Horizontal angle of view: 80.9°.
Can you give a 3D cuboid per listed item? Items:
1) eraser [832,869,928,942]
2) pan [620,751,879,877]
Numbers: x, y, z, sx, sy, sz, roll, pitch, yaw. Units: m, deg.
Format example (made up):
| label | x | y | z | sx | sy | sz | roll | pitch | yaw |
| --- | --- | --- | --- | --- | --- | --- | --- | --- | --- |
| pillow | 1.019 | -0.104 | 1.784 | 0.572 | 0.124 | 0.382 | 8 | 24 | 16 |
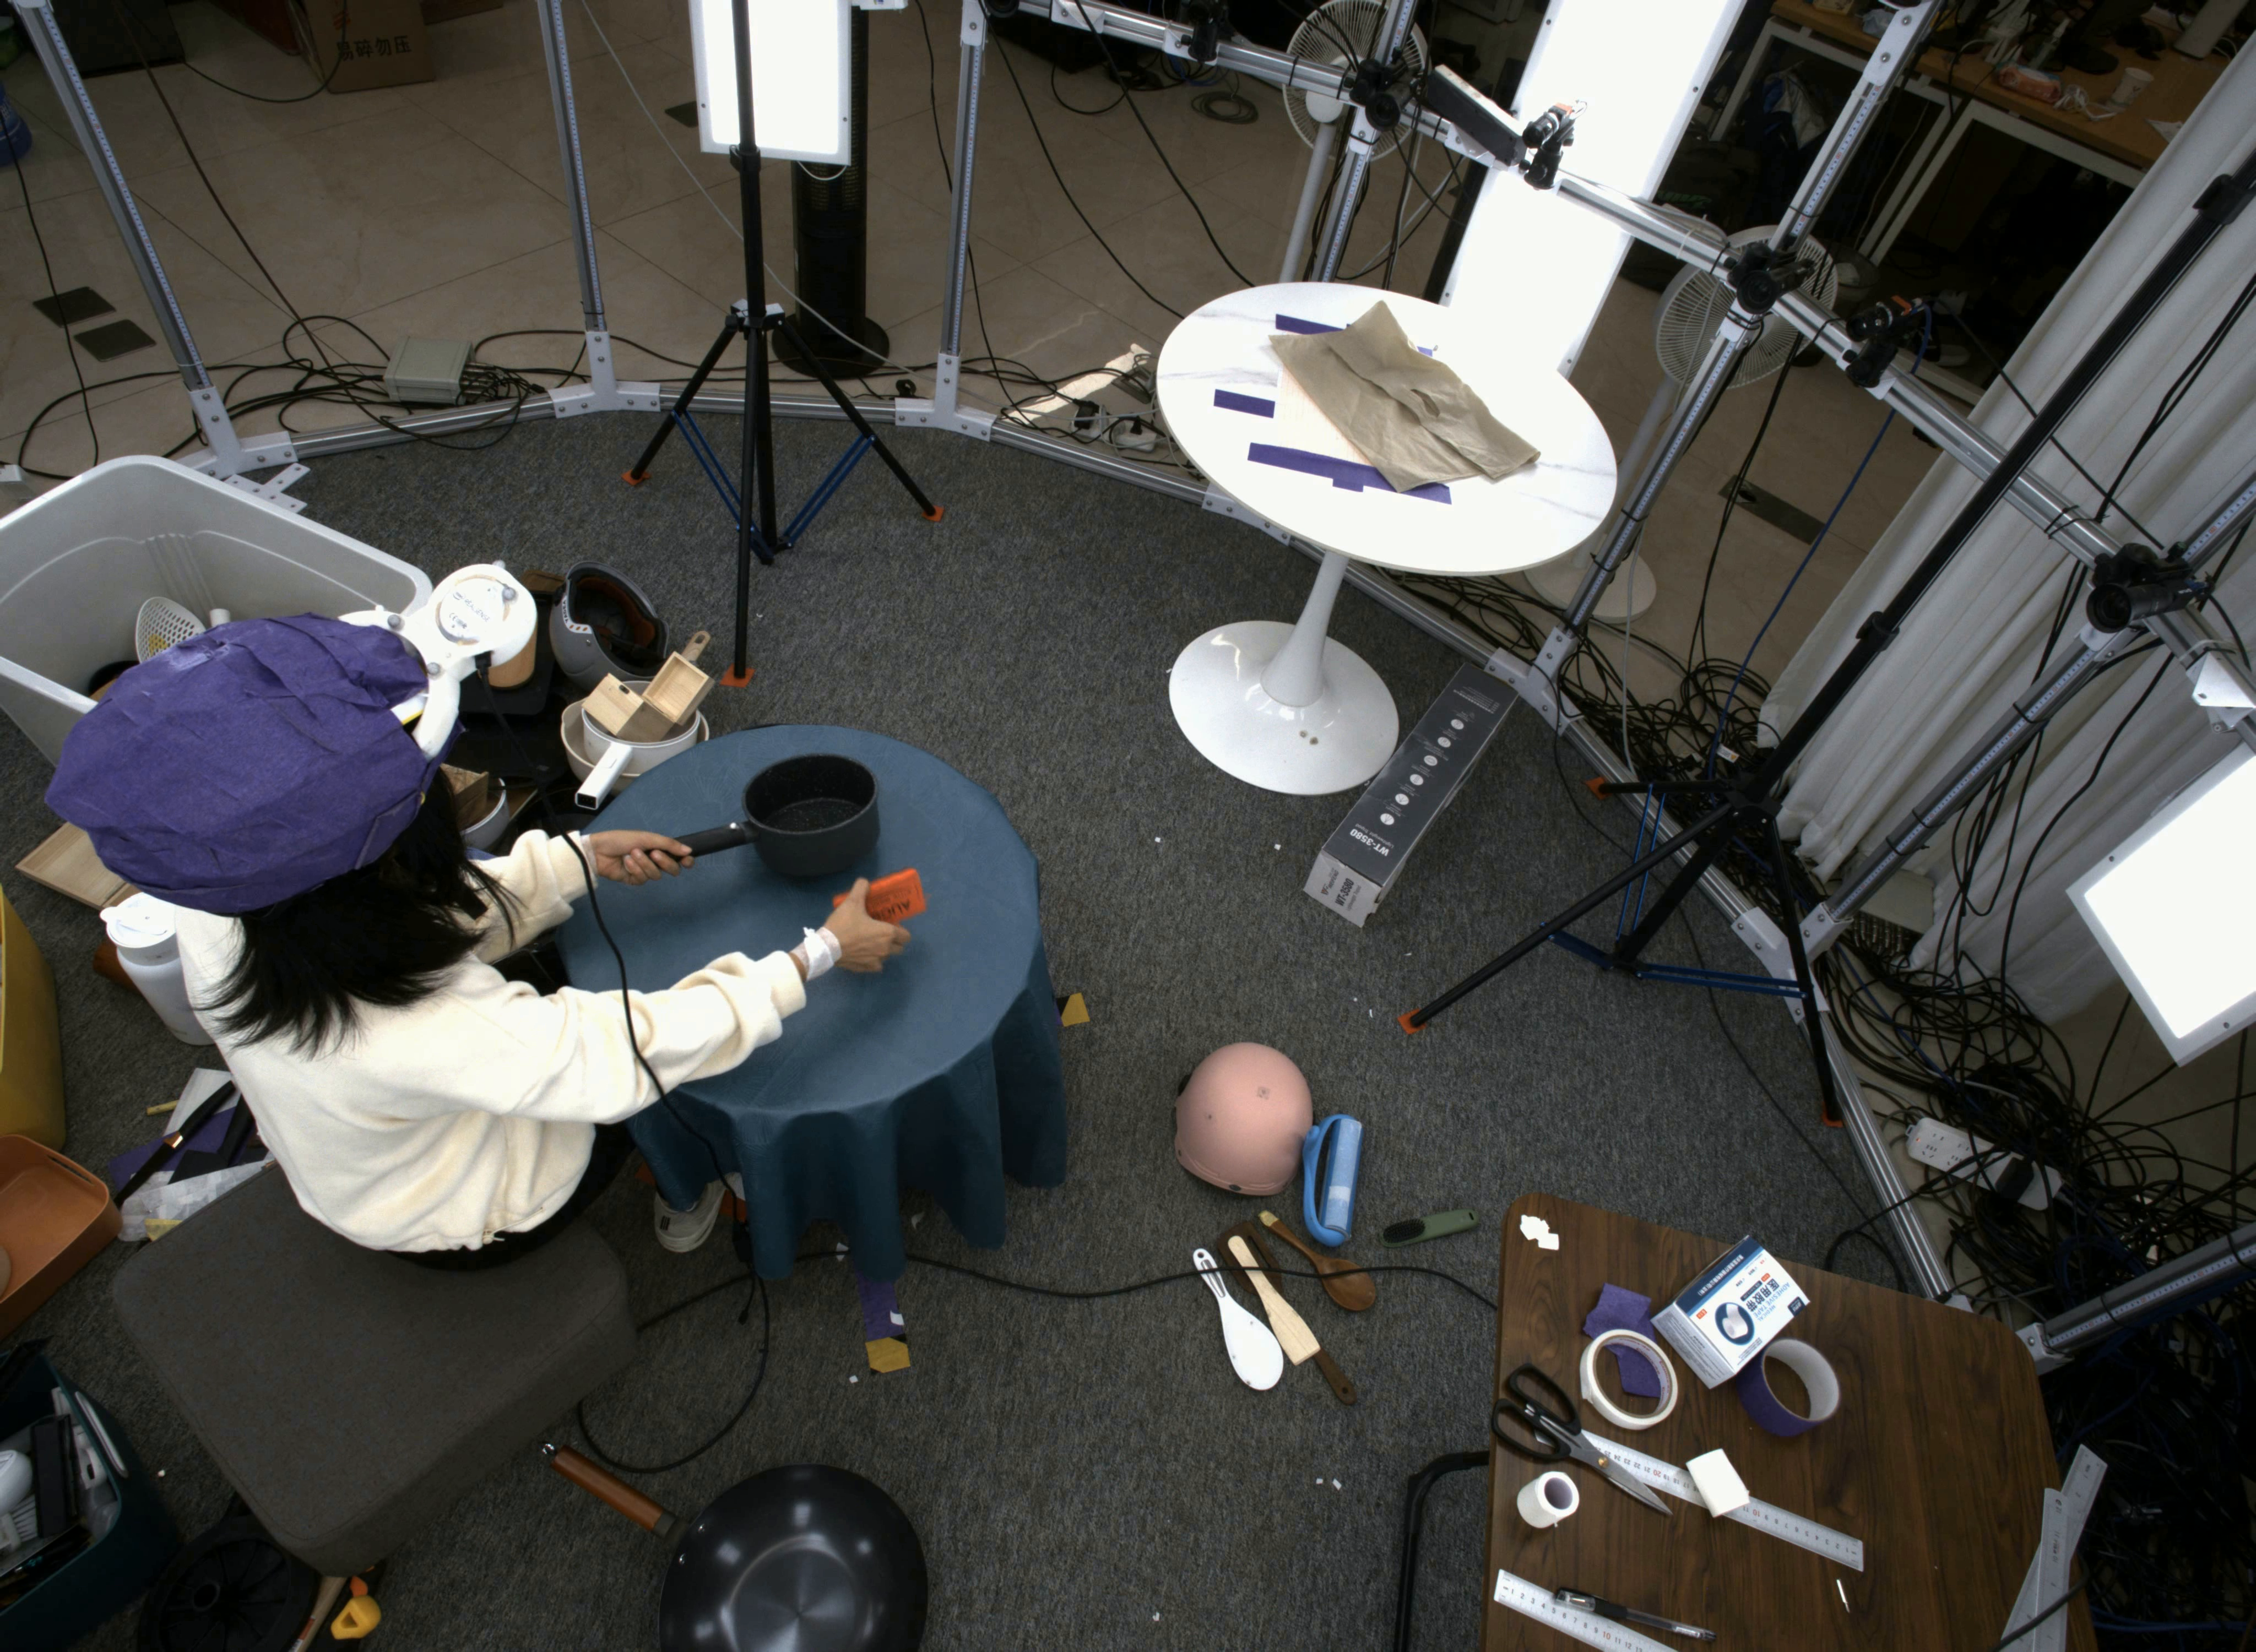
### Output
| label | x | y | z | sx | sy | sz | roll | pitch | yaw |
| --- | --- | --- | --- | --- | --- | --- | --- | --- | --- |
| eraser | -0.302 | 0.095 | 1.586 | 0.108 | 0.061 | 0.022 | -22 | 32 | -15 |
| pan | -0.467 | 0.009 | 1.616 | 0.331 | 0.089 | 0.166 | -22 | 45 | -30 |
